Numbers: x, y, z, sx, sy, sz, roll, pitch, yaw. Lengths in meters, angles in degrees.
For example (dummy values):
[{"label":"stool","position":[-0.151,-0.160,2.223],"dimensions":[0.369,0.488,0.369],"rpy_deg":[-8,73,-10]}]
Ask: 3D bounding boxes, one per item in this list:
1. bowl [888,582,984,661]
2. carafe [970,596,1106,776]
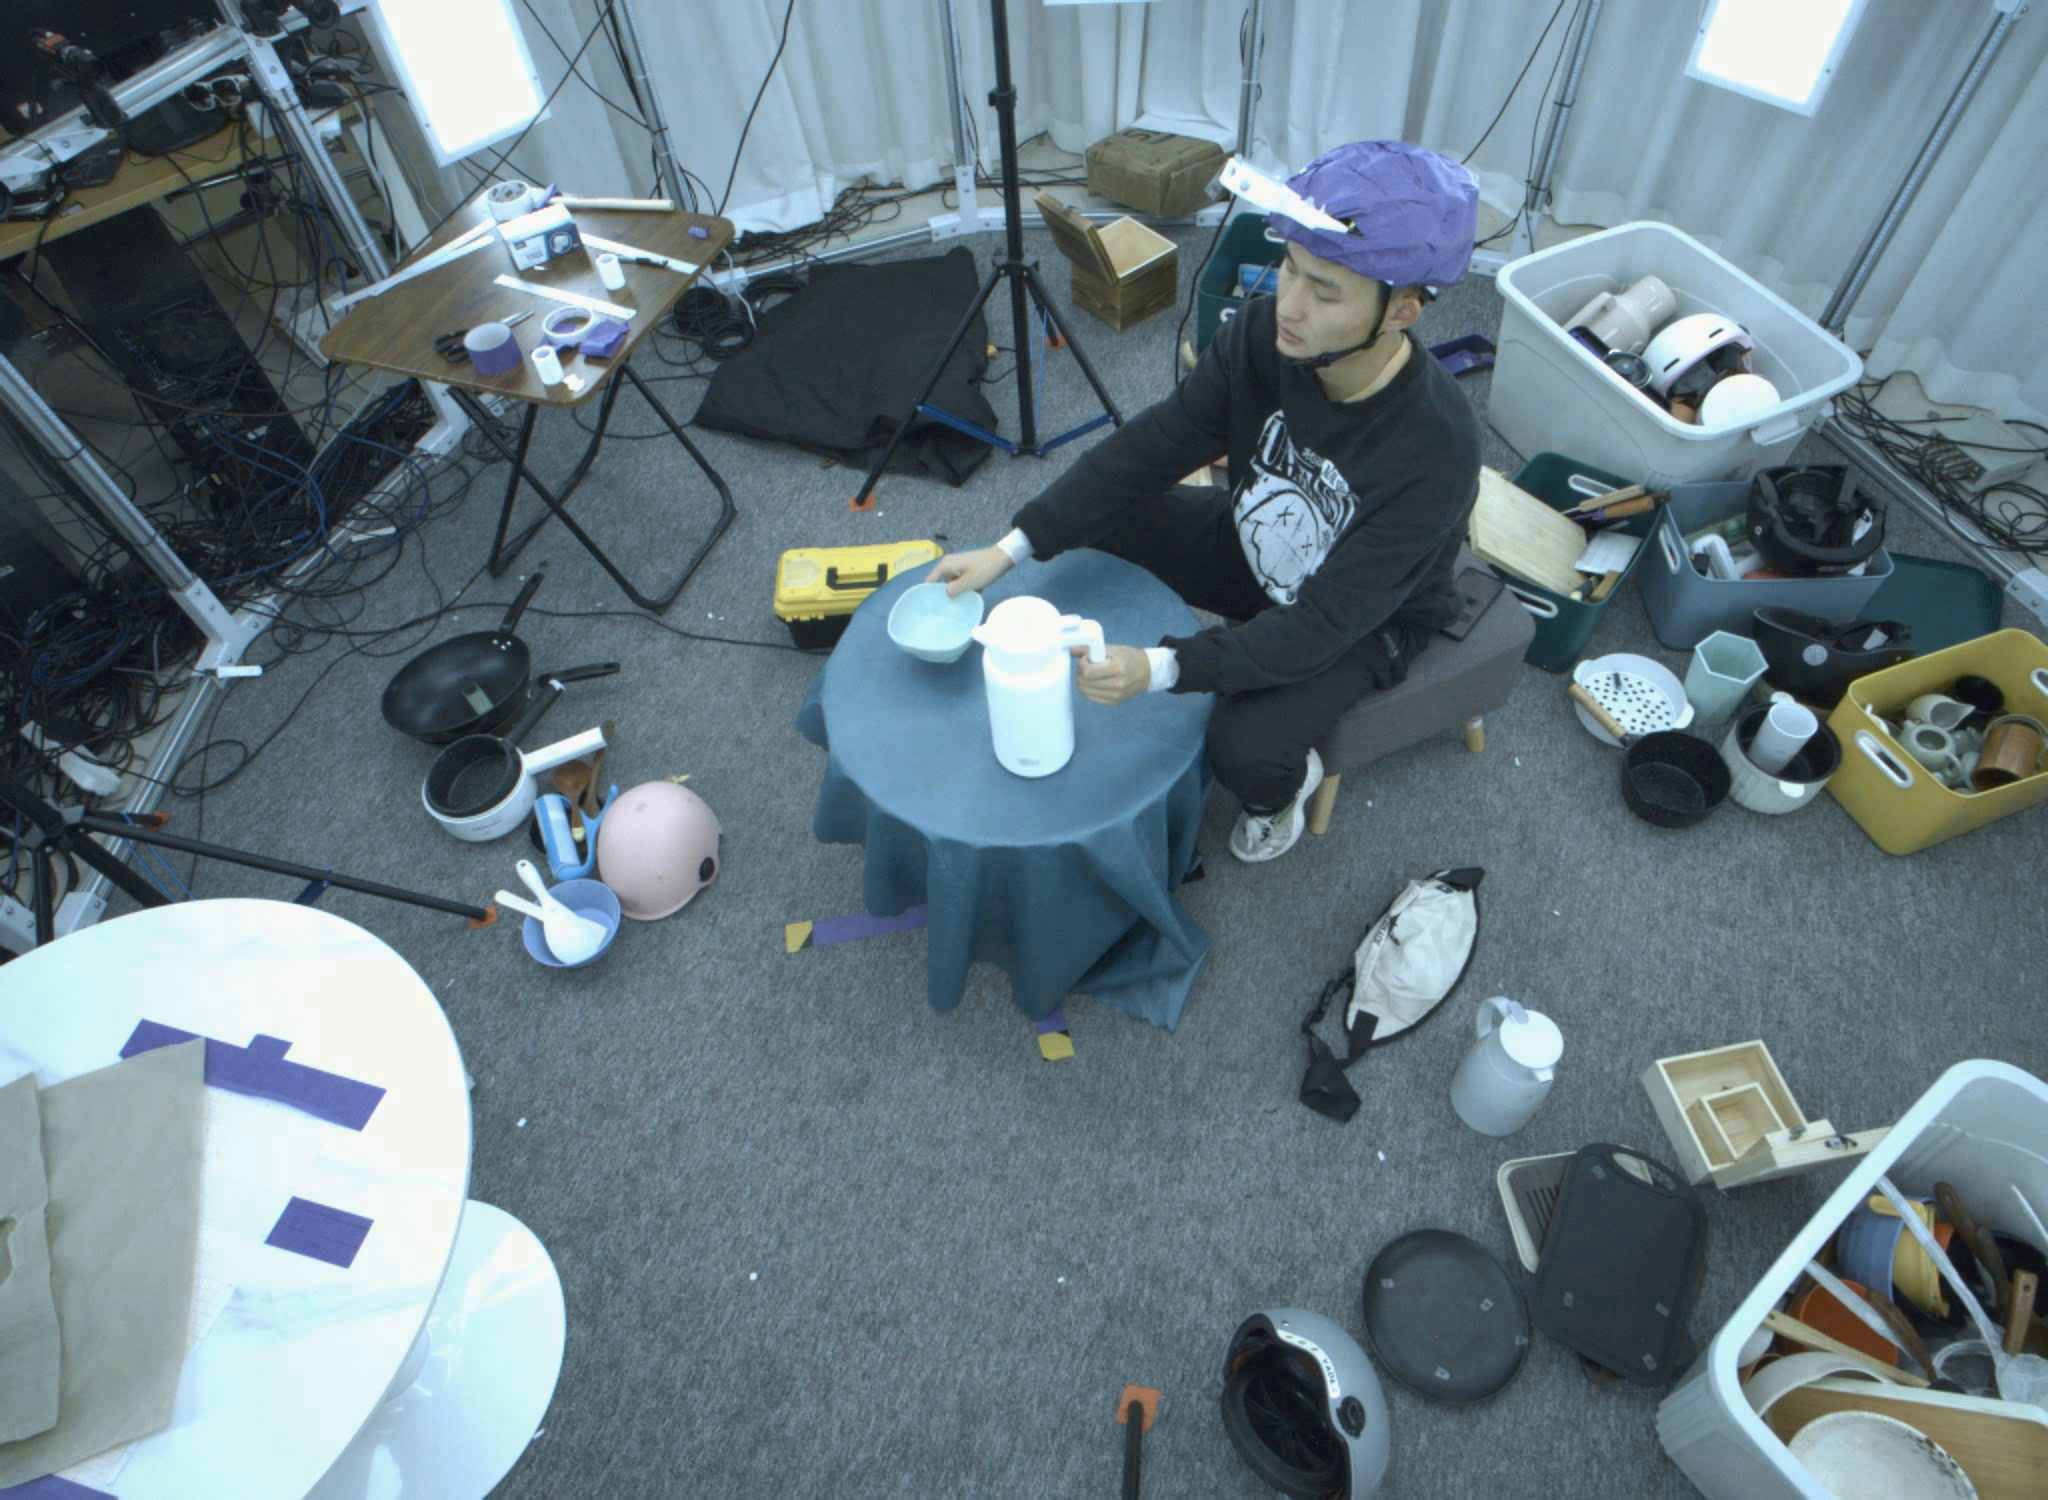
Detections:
[{"label":"bowl","position":[-0.130,-0.185,1.848],"dimensions":[0.151,0.059,0.150],"rpy_deg":[-1,52,2]},{"label":"carafe","position":[0.024,-0.086,1.679],"dimensions":[0.173,0.272,0.122],"rpy_deg":[-7,52,-1]}]
